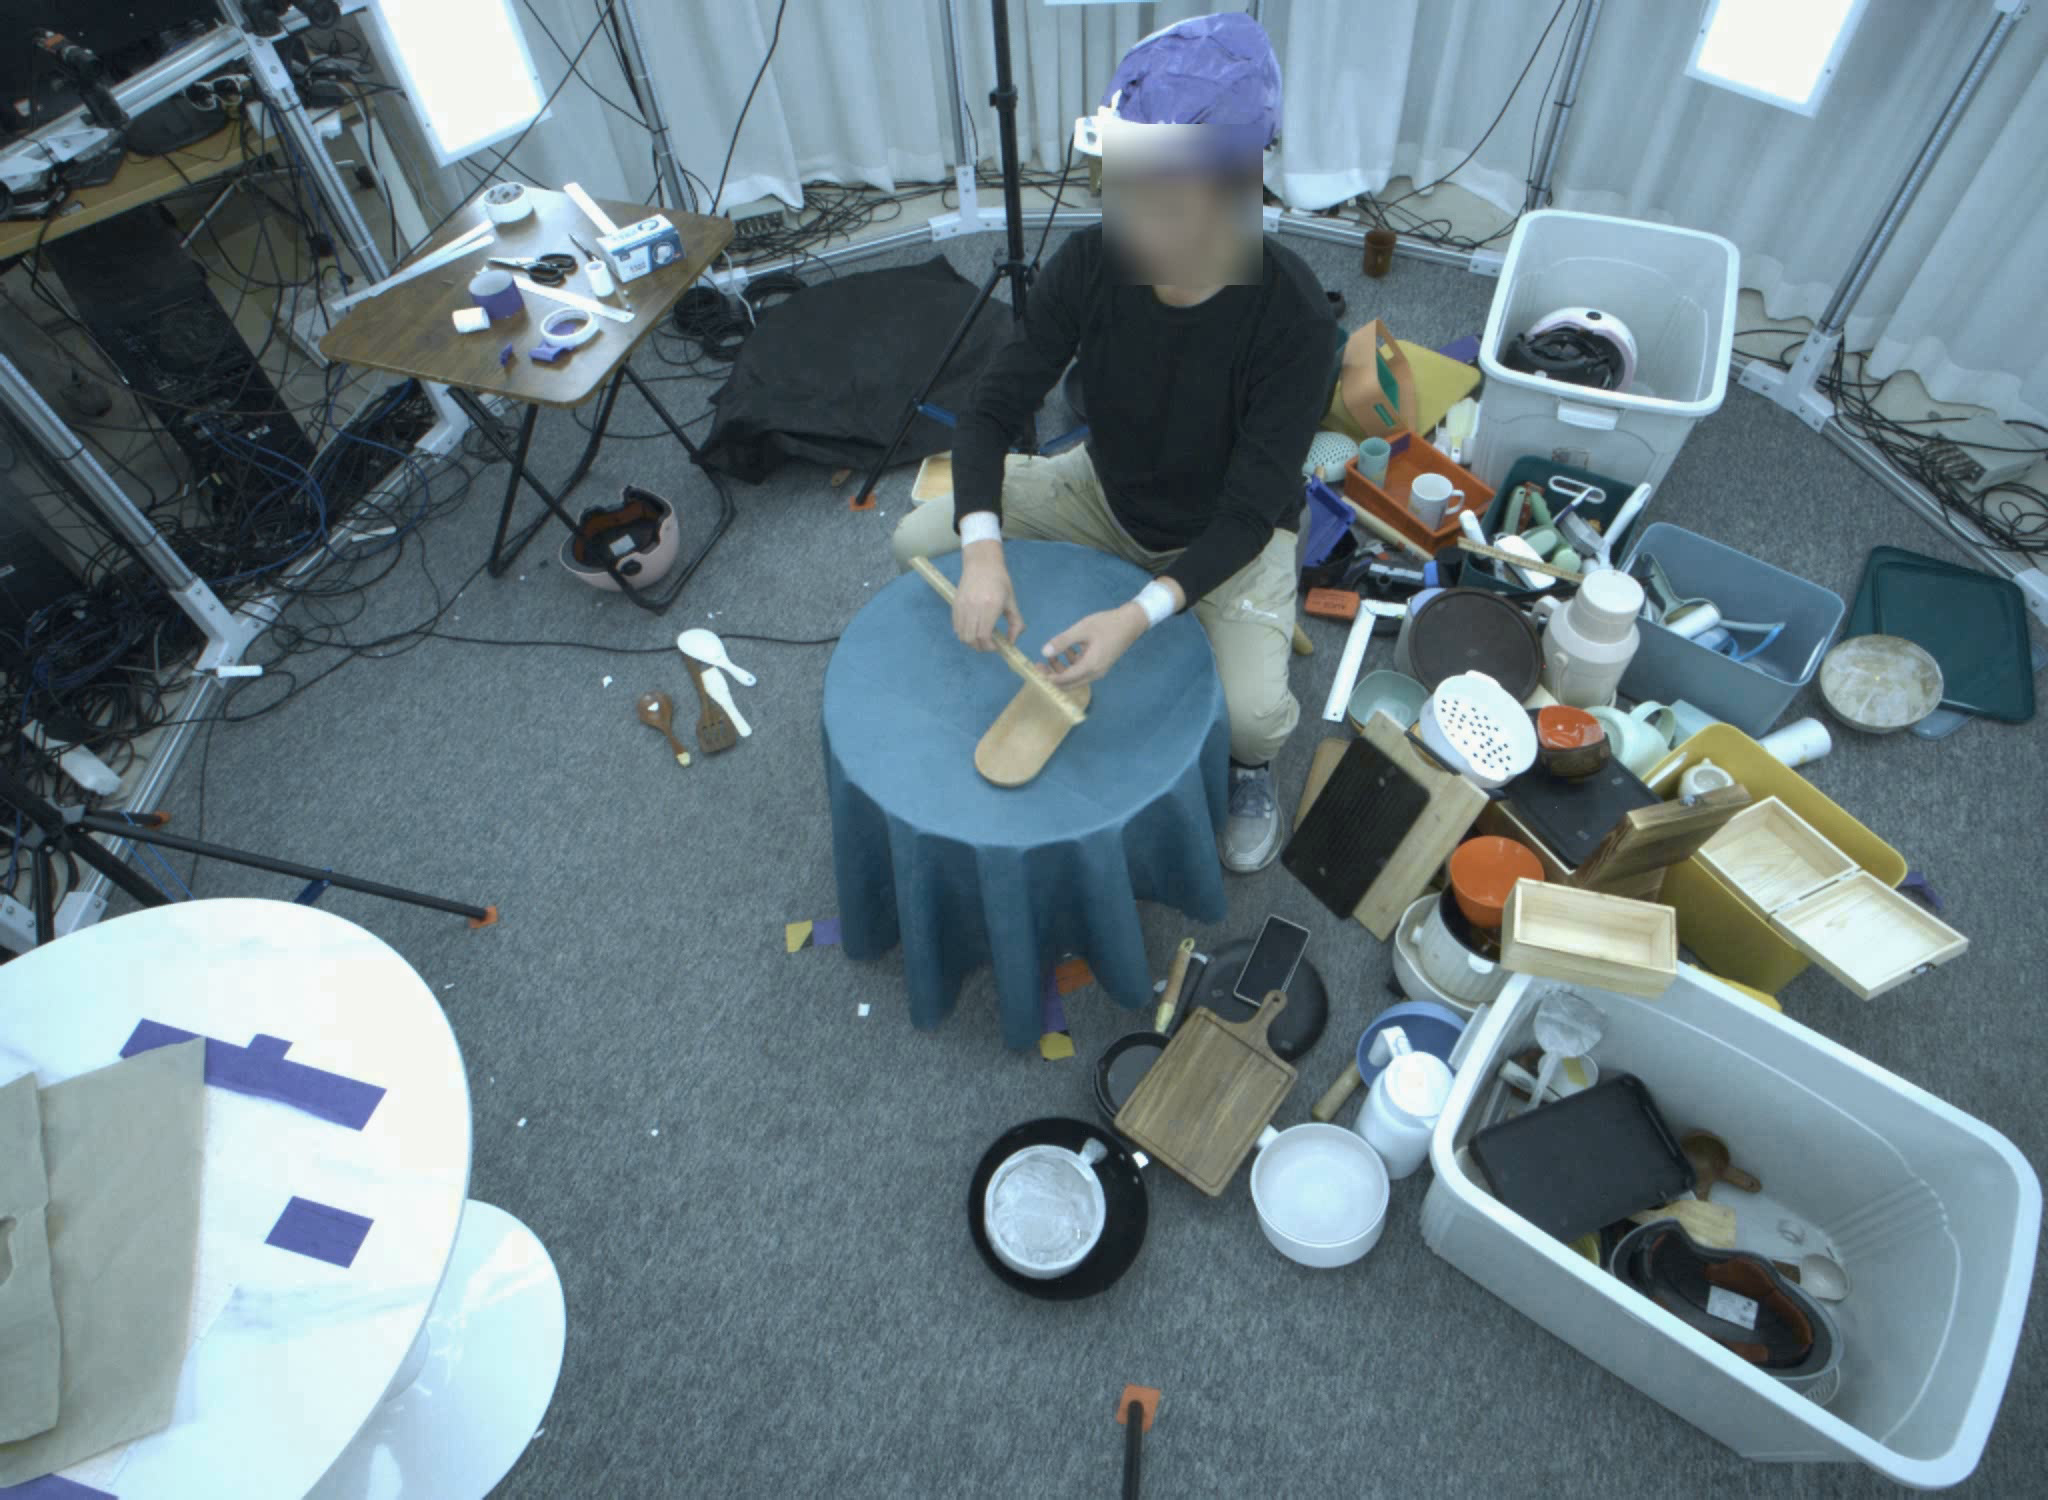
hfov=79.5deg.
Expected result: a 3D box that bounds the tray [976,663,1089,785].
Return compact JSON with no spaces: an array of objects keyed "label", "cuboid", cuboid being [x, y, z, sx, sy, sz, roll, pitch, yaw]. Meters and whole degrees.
[{"label":"tray","cuboid":[0.014,-0.040,1.806,0.100,0.020,0.232,25,58,16]}]

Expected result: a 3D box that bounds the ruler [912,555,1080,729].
[{"label":"ruler","cuboid":[-0.051,-0.170,1.783,0.027,0.006,0.489,-22,44,-19]}]
